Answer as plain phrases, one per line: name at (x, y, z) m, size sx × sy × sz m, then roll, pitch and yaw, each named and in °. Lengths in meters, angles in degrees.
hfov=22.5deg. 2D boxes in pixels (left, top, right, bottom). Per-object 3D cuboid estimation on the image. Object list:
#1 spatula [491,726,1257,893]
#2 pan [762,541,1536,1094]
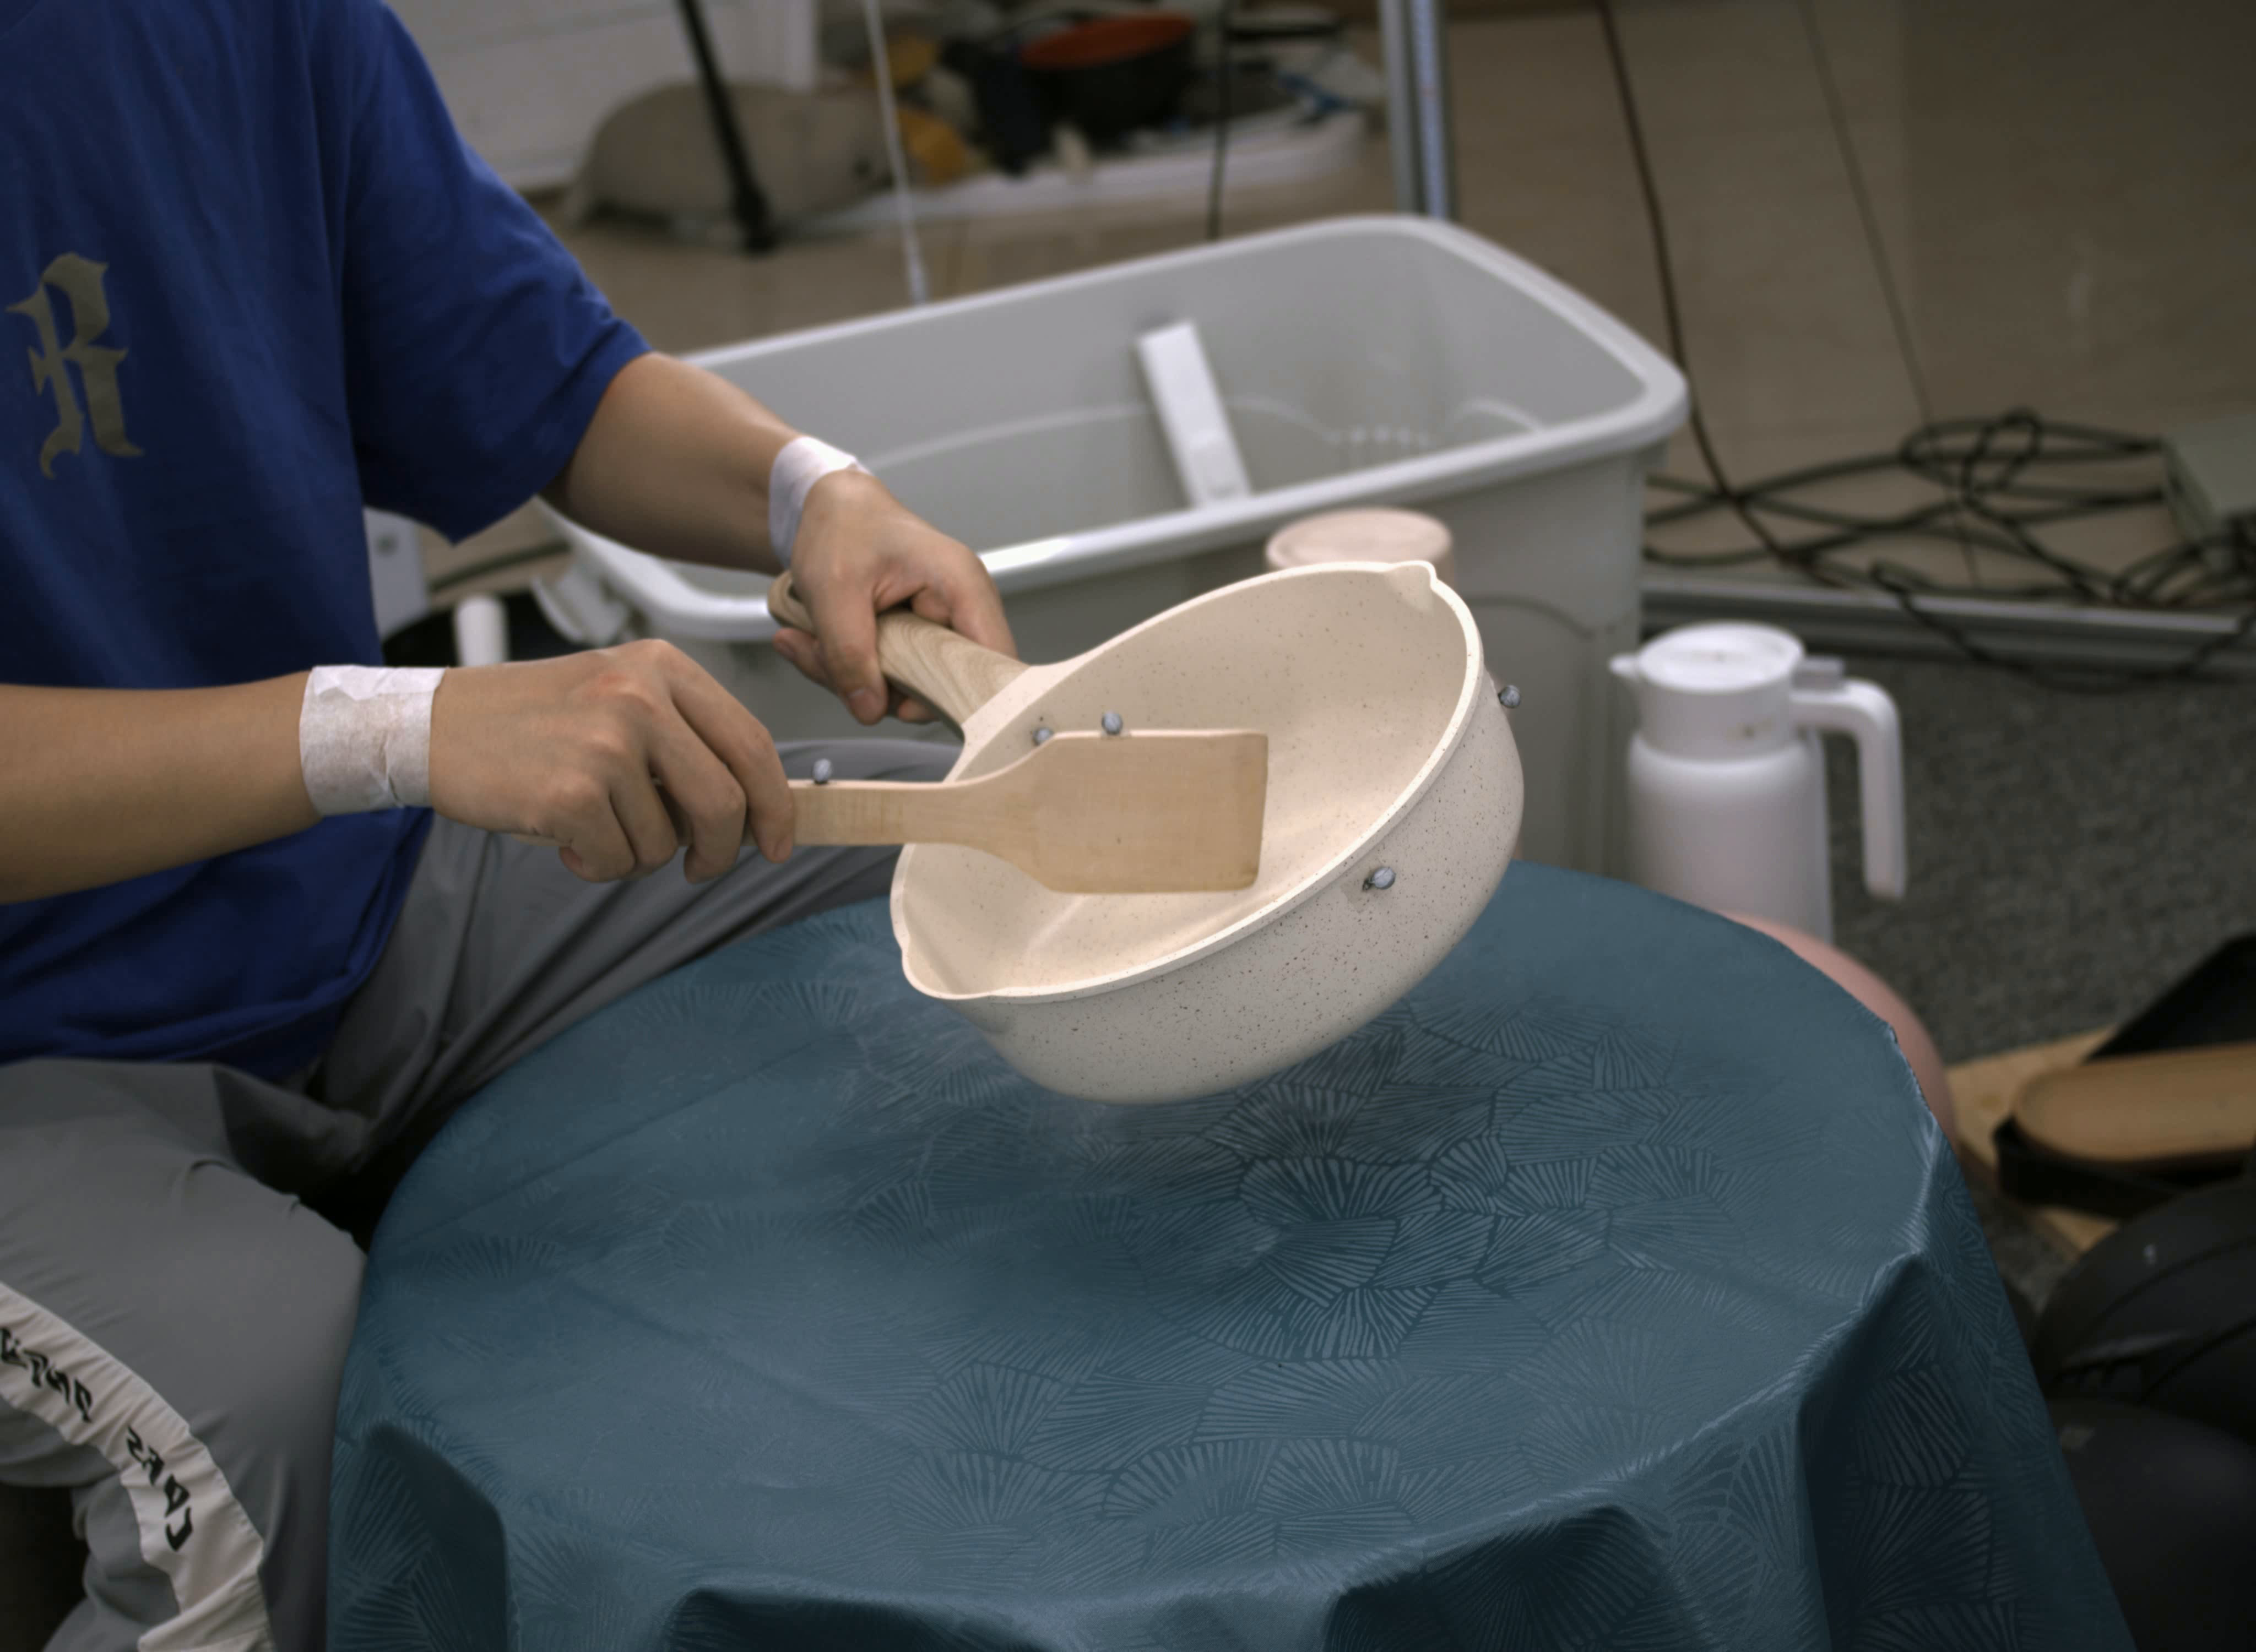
spatula at (-0.096, -0.007, 2.159) m, size 0.292 × 0.073 × 0.010 m, roll 0°, pitch 31°, yaw -7°
pan at (-0.009, -0.020, 2.235) m, size 0.261 × 0.103 × 0.431 m, roll -43°, pitch 30°, yaw -16°
